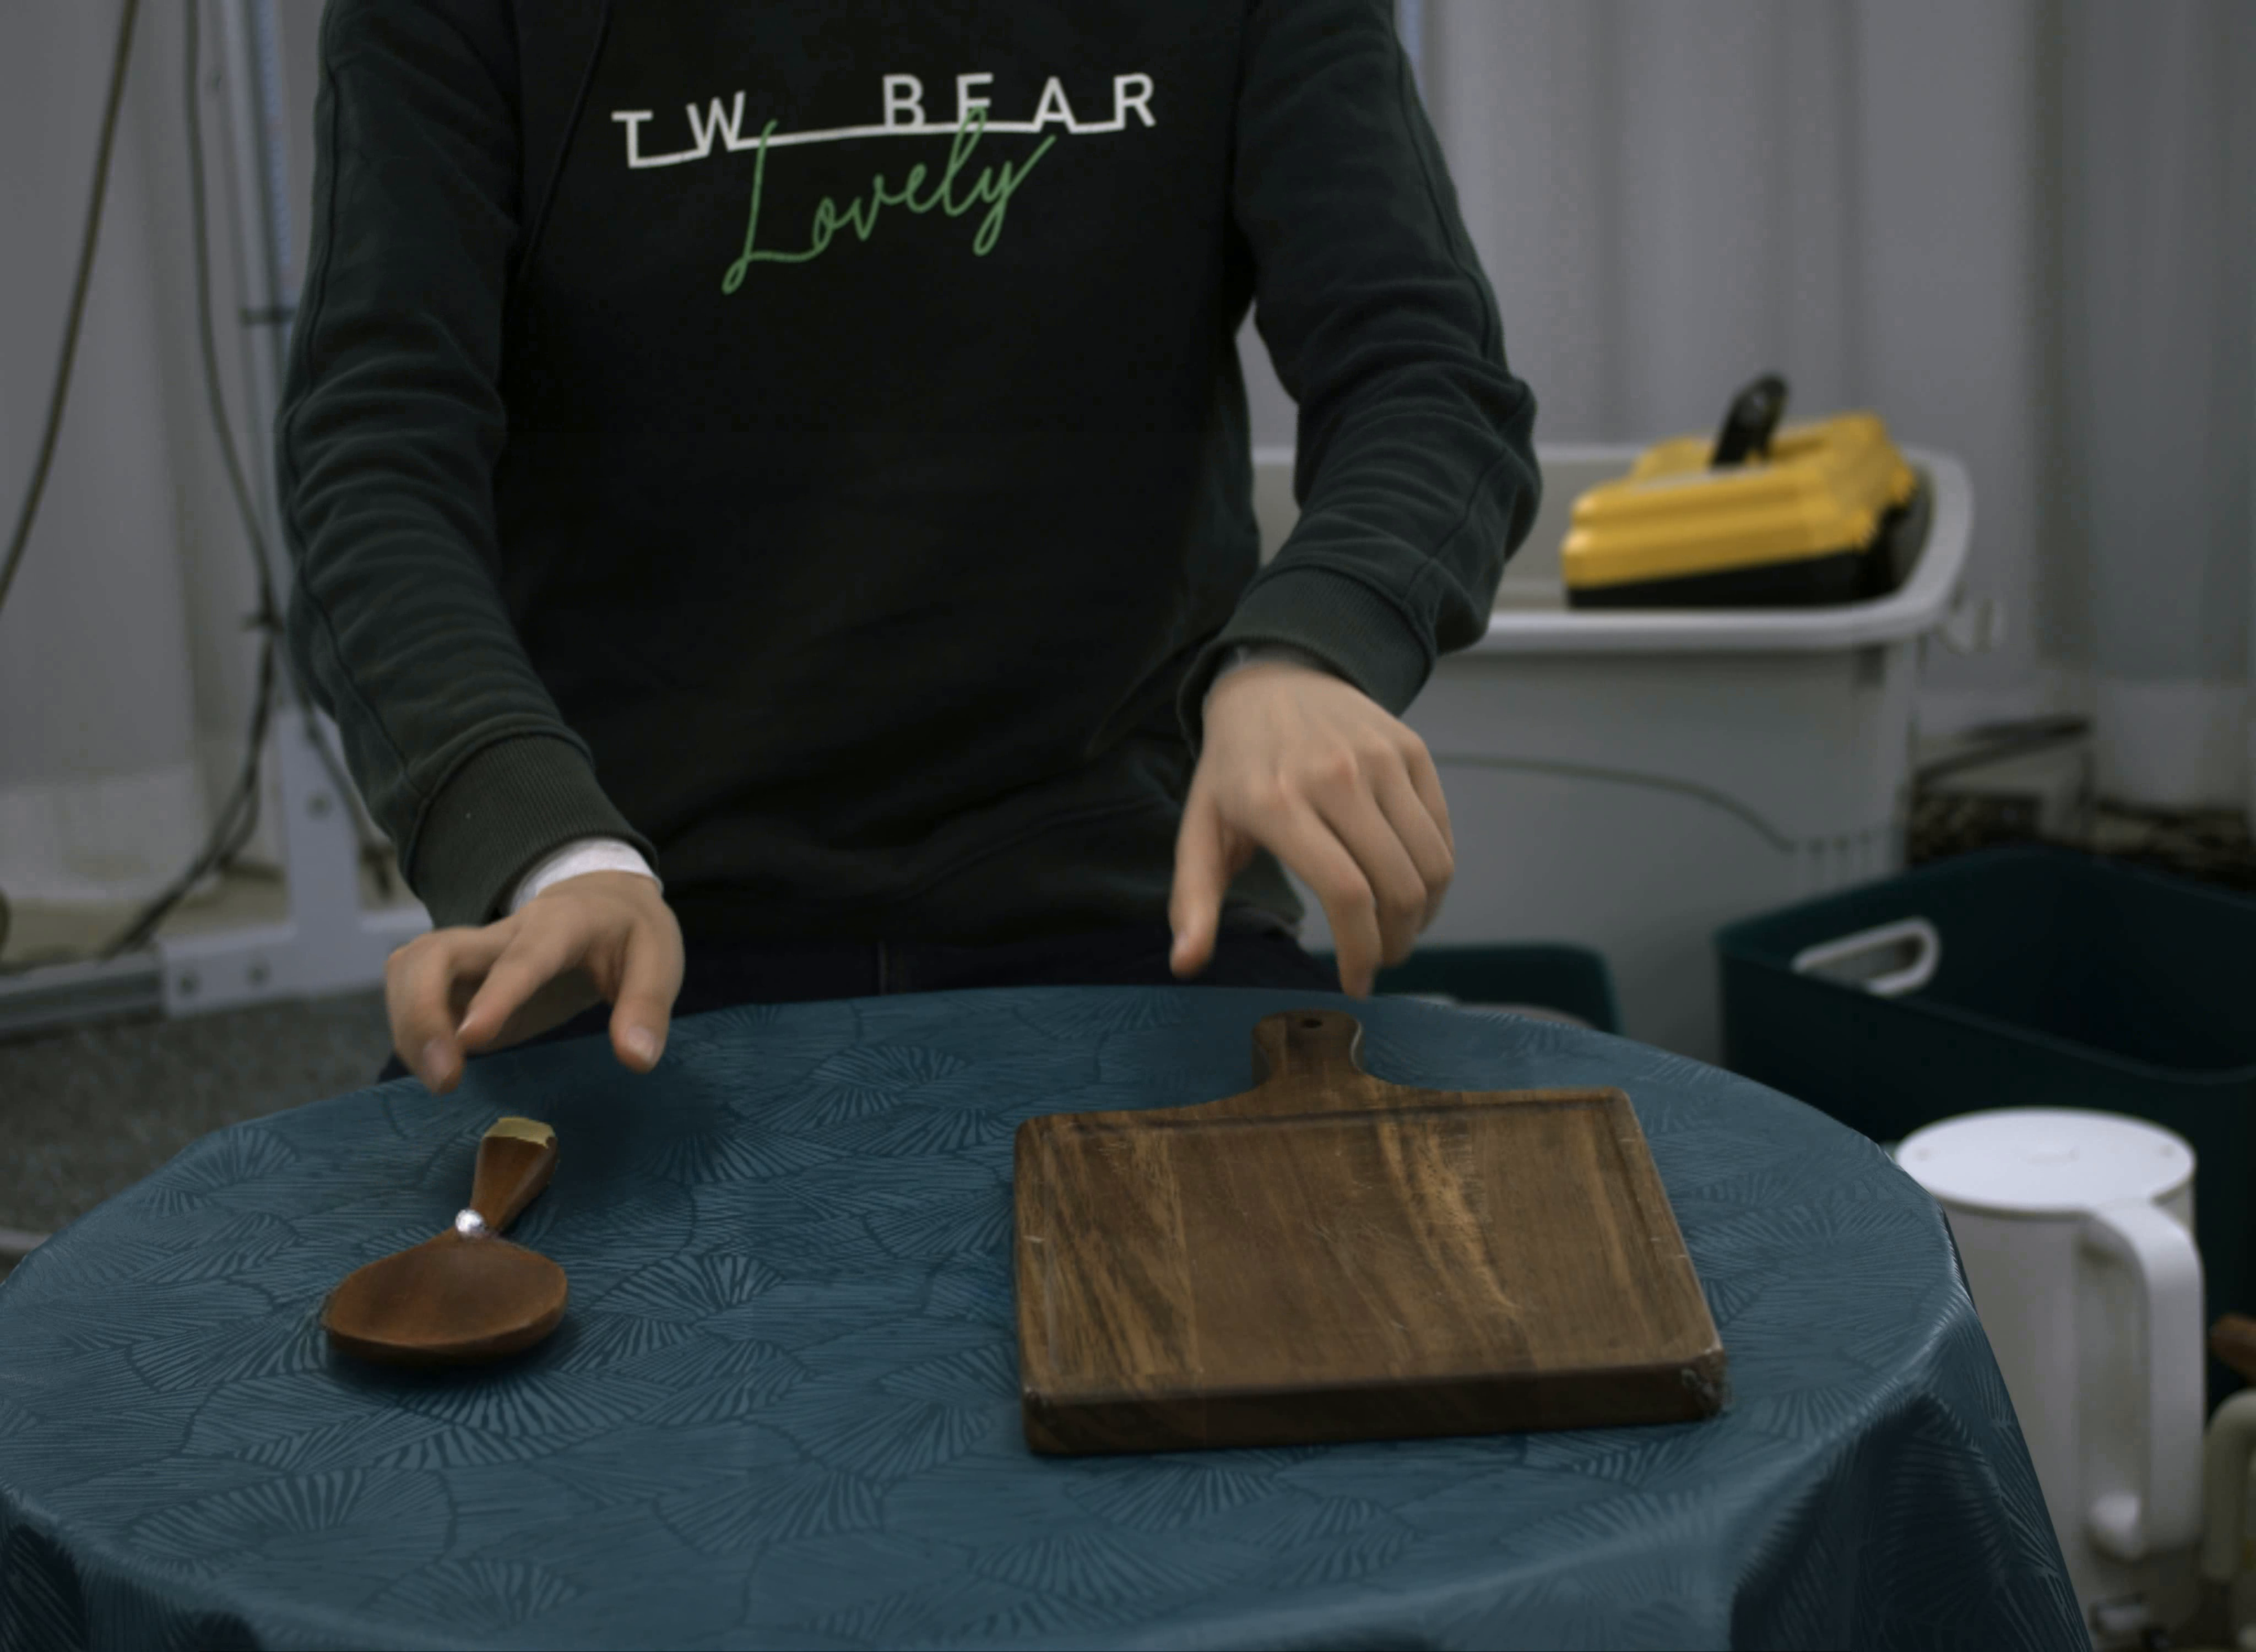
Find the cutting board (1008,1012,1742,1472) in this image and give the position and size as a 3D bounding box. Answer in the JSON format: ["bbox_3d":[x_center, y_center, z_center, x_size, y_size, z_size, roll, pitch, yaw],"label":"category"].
[{"bbox_3d":[0.064,0.117,1.662,0.200,0.023,0.354,-4,15,-1],"label":"cutting board"}]

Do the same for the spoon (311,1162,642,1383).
[{"bbox_3d":[-0.187,0.137,1.661,0.075,0.017,0.216,3,12,11],"label":"spoon"}]
